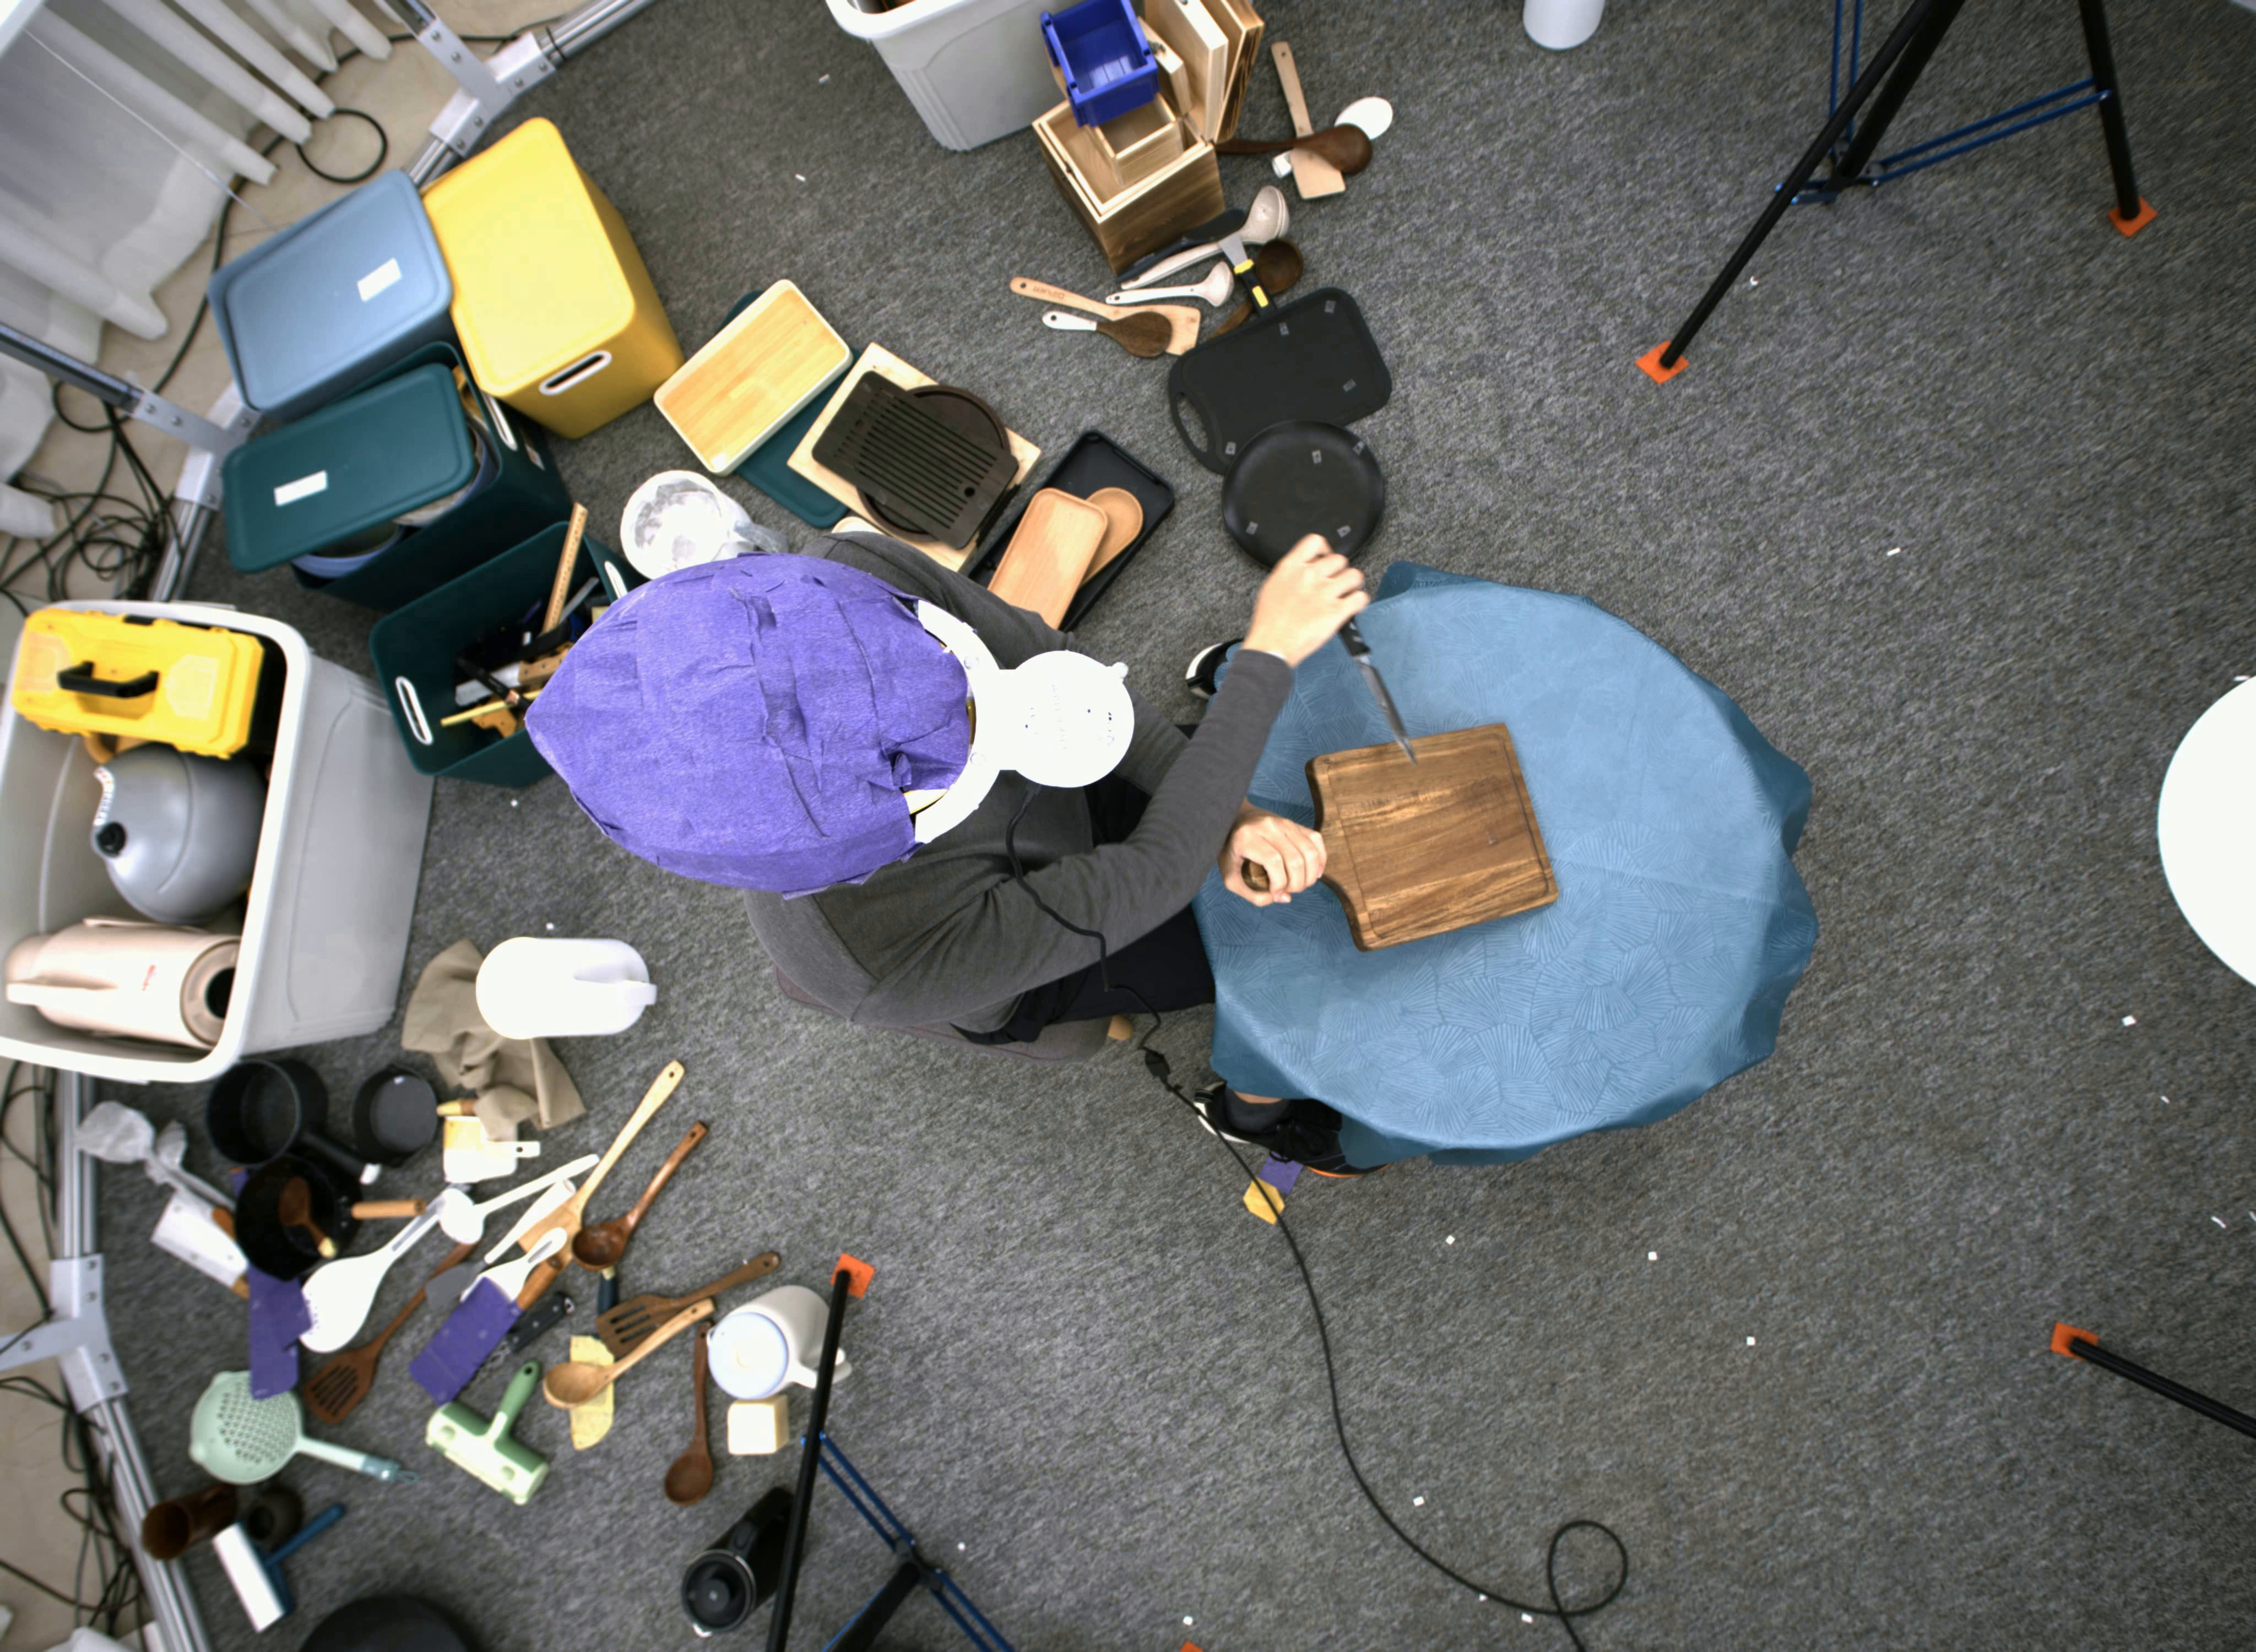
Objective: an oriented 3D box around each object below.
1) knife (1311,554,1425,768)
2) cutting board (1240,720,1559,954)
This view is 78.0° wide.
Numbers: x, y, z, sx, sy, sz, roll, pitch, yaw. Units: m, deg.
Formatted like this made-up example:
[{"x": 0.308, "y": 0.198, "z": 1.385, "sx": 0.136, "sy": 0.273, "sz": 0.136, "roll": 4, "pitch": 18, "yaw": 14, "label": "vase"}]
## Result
[{"x": 0.238, "y": -0.164, "z": 1.359, "sx": 0.024, "sy": 0.016, "sz": 0.237, "roll": -23, "pitch": 85, "yaw": -29, "label": "knife"}, {"x": 0.263, "y": 0.013, "z": 1.358, "sx": 0.349, "sy": 0.023, "sz": 0.200, "roll": -12, "pitch": 83, "yaw": -24, "label": "cutting board"}]
